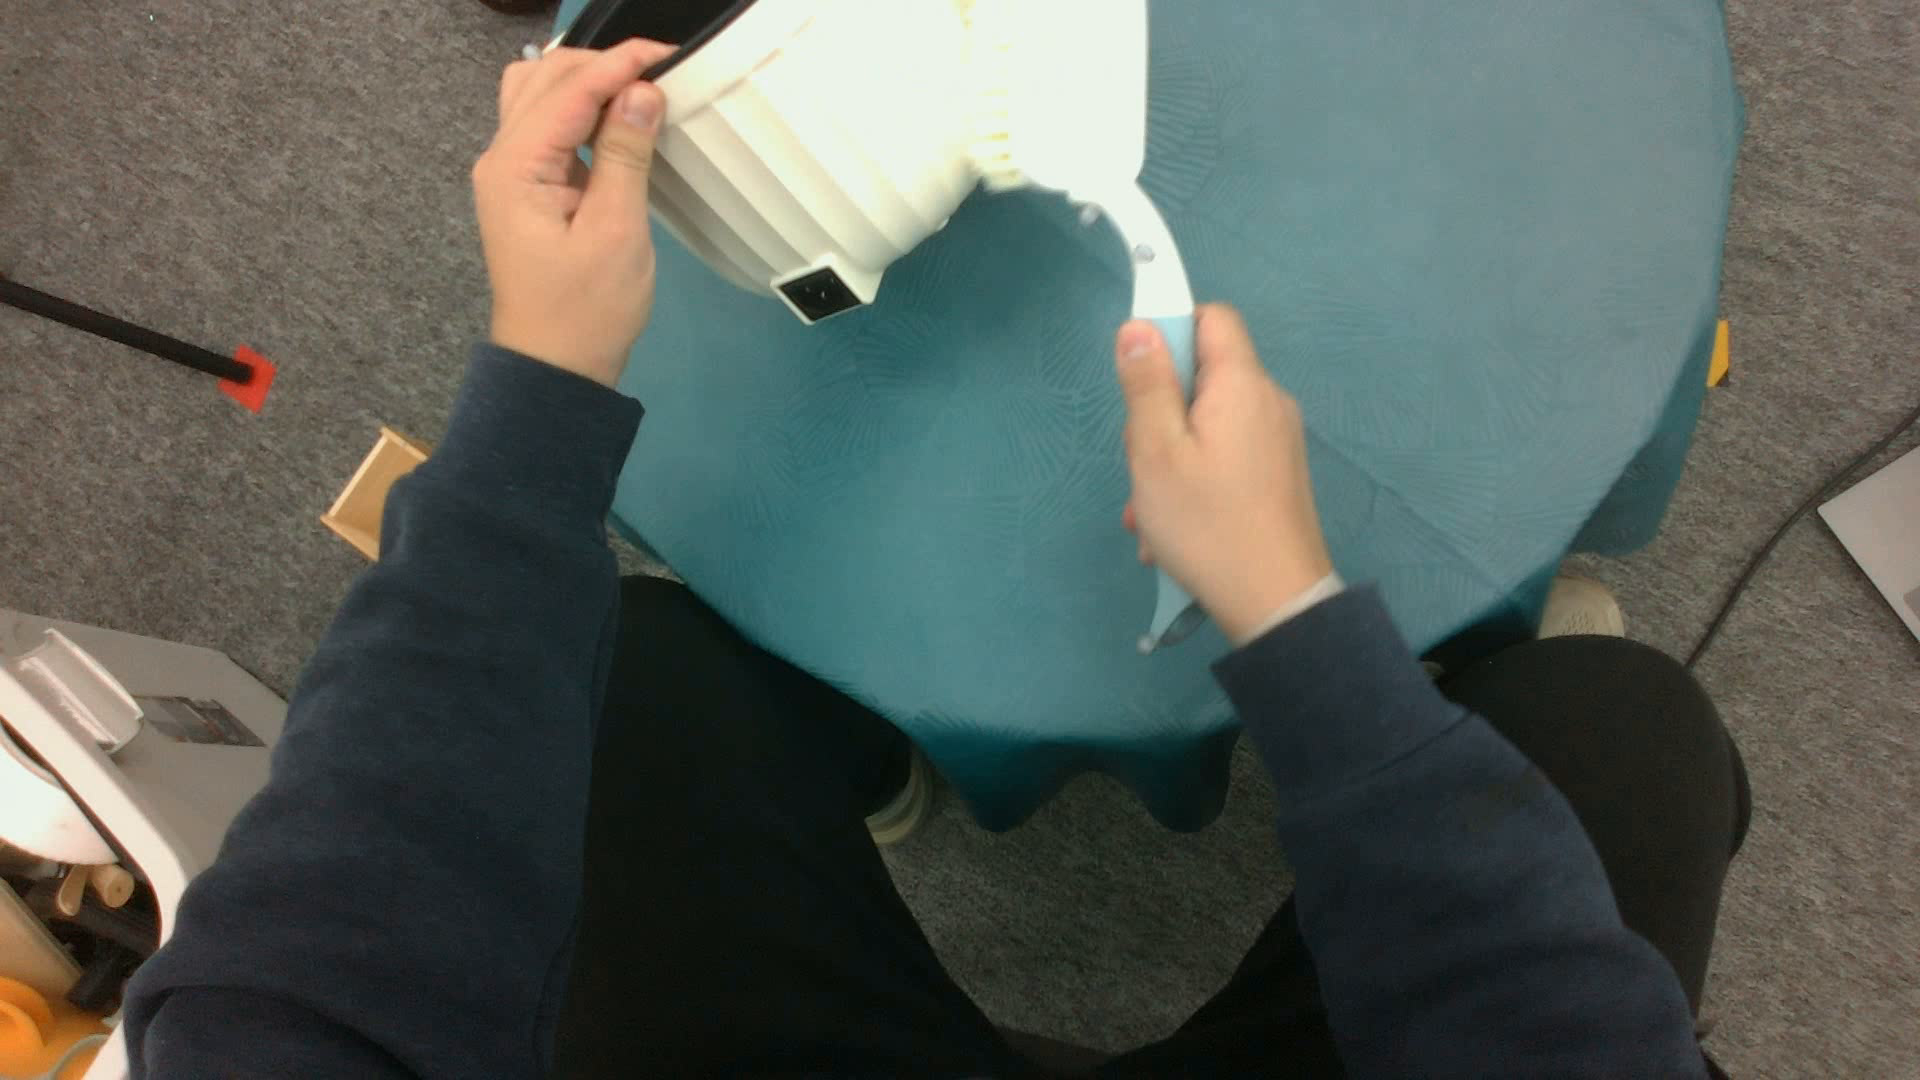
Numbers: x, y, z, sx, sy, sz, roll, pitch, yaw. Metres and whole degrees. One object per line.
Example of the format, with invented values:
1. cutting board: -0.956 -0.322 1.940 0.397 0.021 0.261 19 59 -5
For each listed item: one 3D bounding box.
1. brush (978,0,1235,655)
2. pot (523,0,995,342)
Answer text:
1. brush: 0.055 -0.112 0.585 0.083 0.084 0.325 -7 91 0
2. pot: -0.078 -0.202 0.634 0.239 0.142 0.191 -16 50 35
